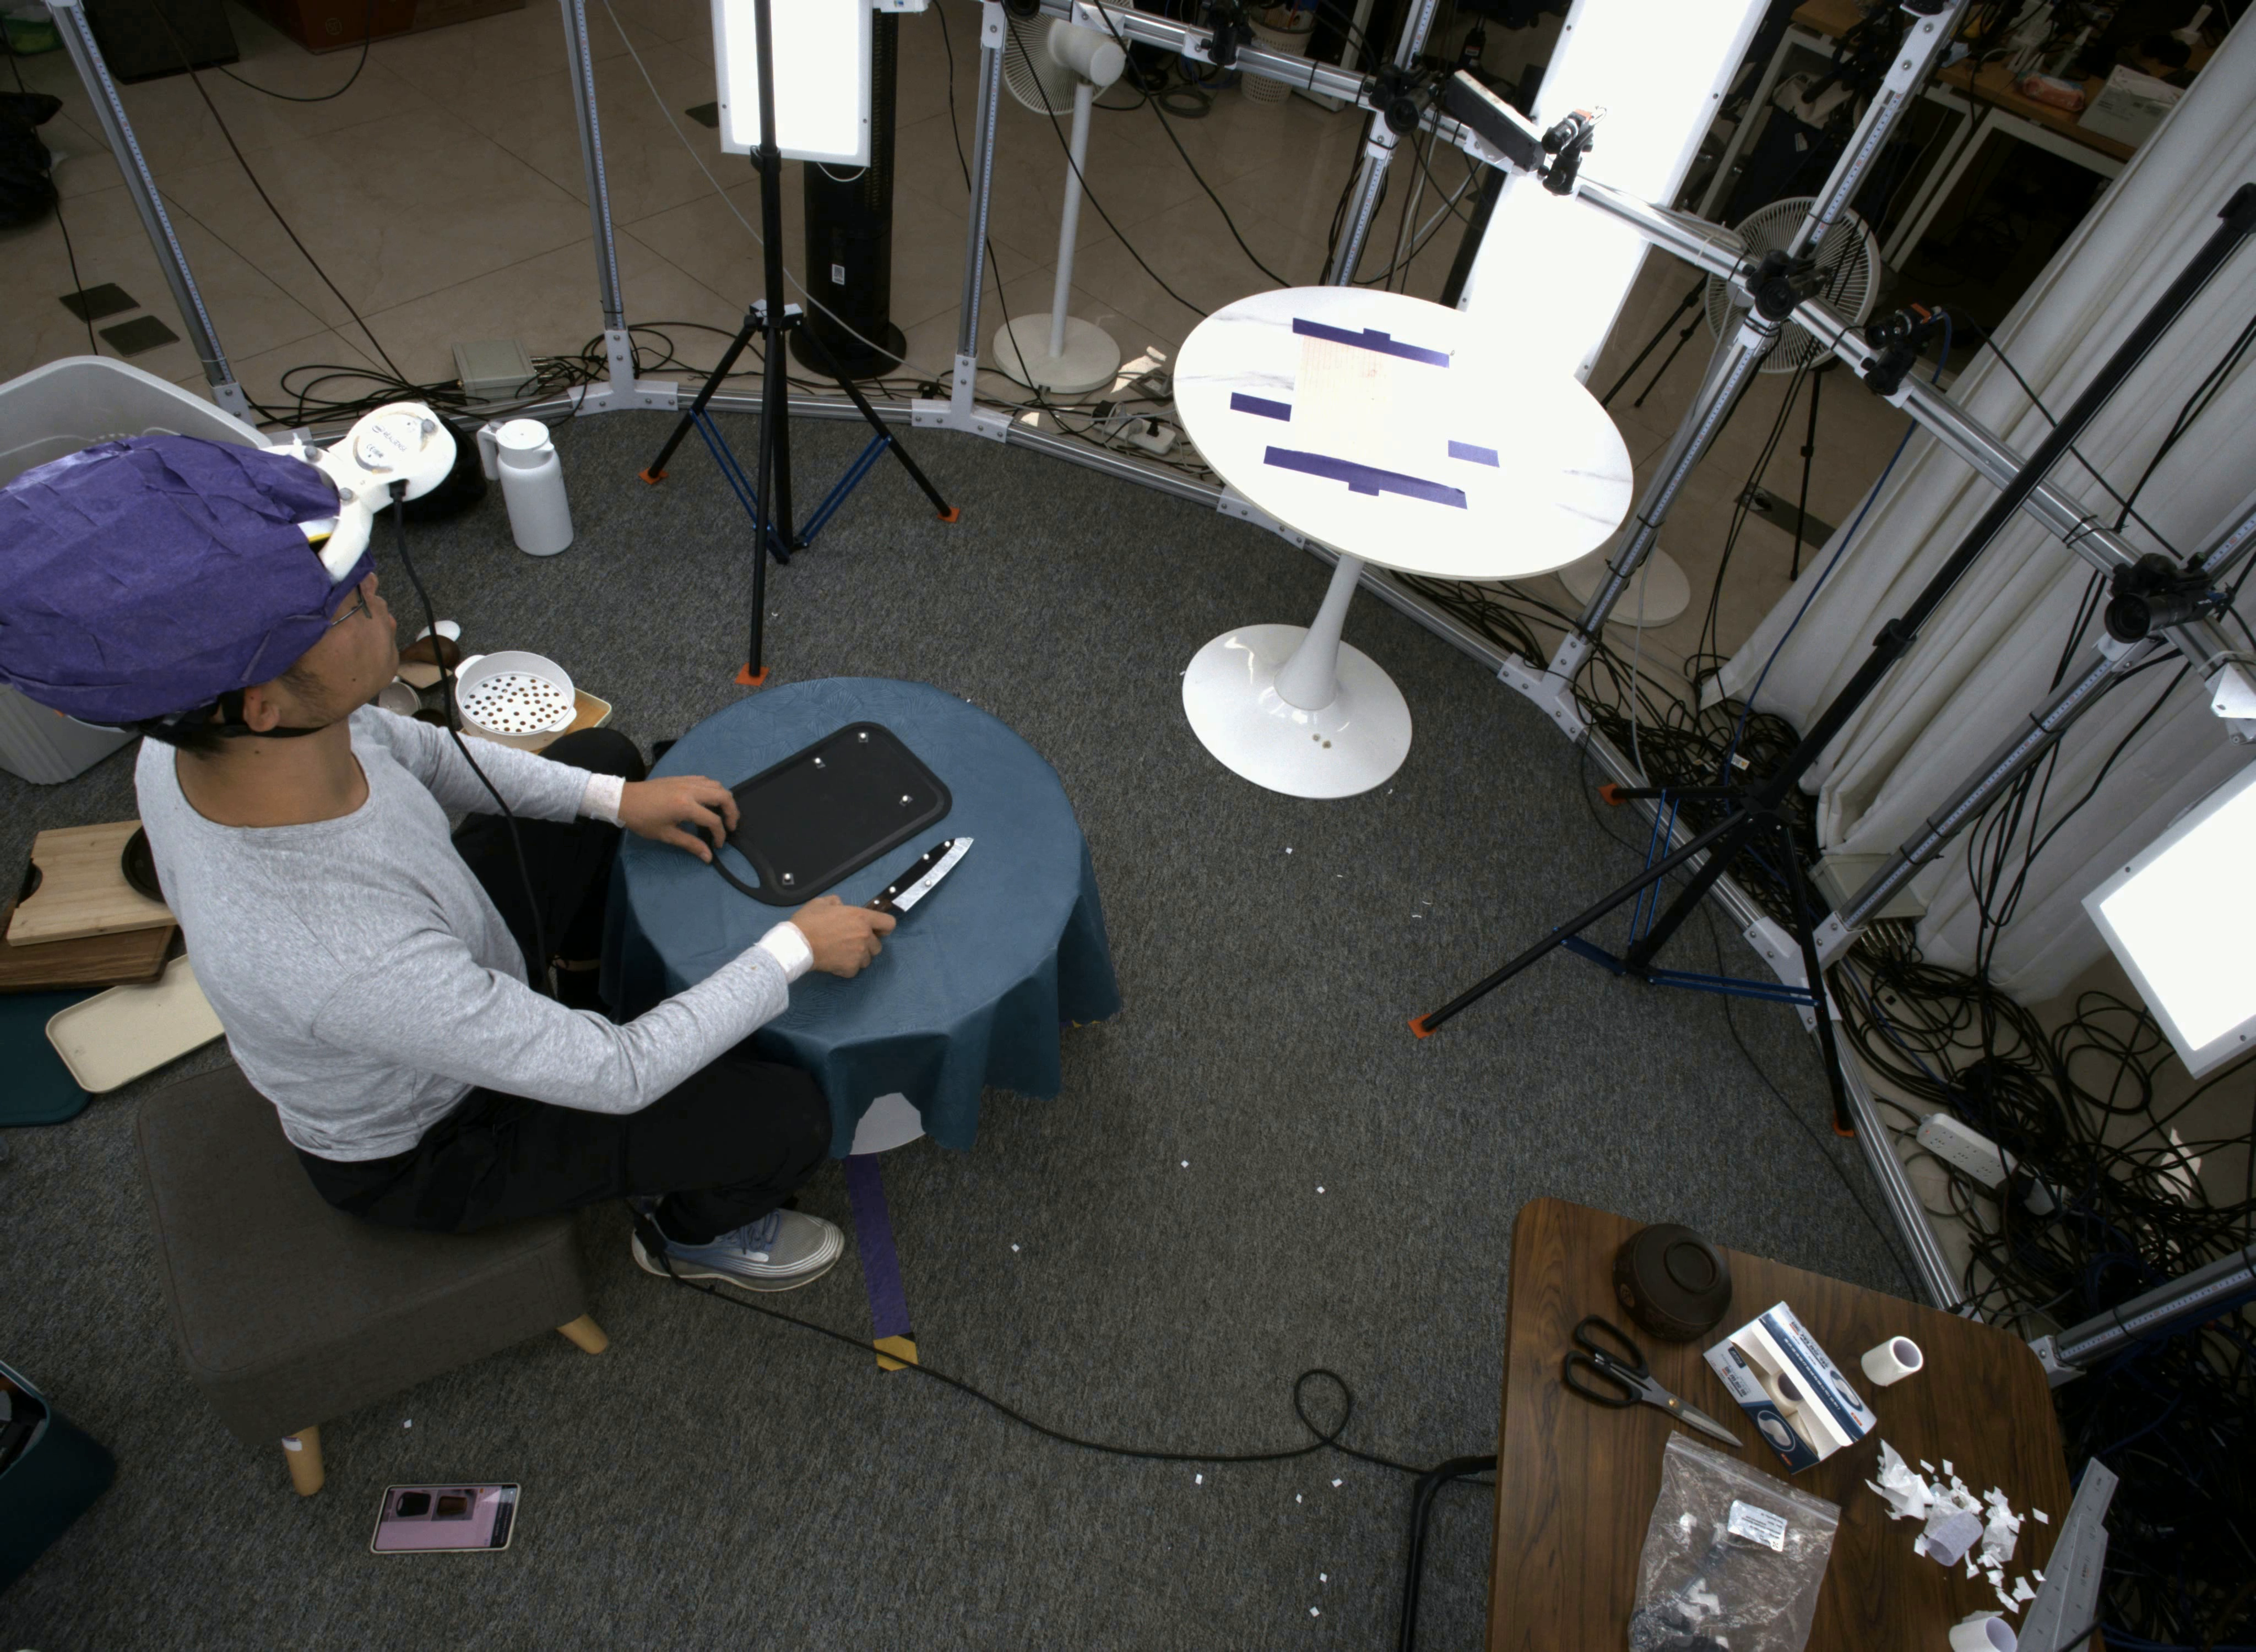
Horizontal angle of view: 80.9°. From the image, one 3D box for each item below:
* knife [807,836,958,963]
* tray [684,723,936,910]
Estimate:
[{"bbox_3d":[-0.310,0.087,1.673,0.049,0.020,0.289,32,45,14],"label":"knife"},{"bbox_3d":[-0.430,-0.017,1.743,0.206,0.010,0.326,43,56,18],"label":"tray"}]
